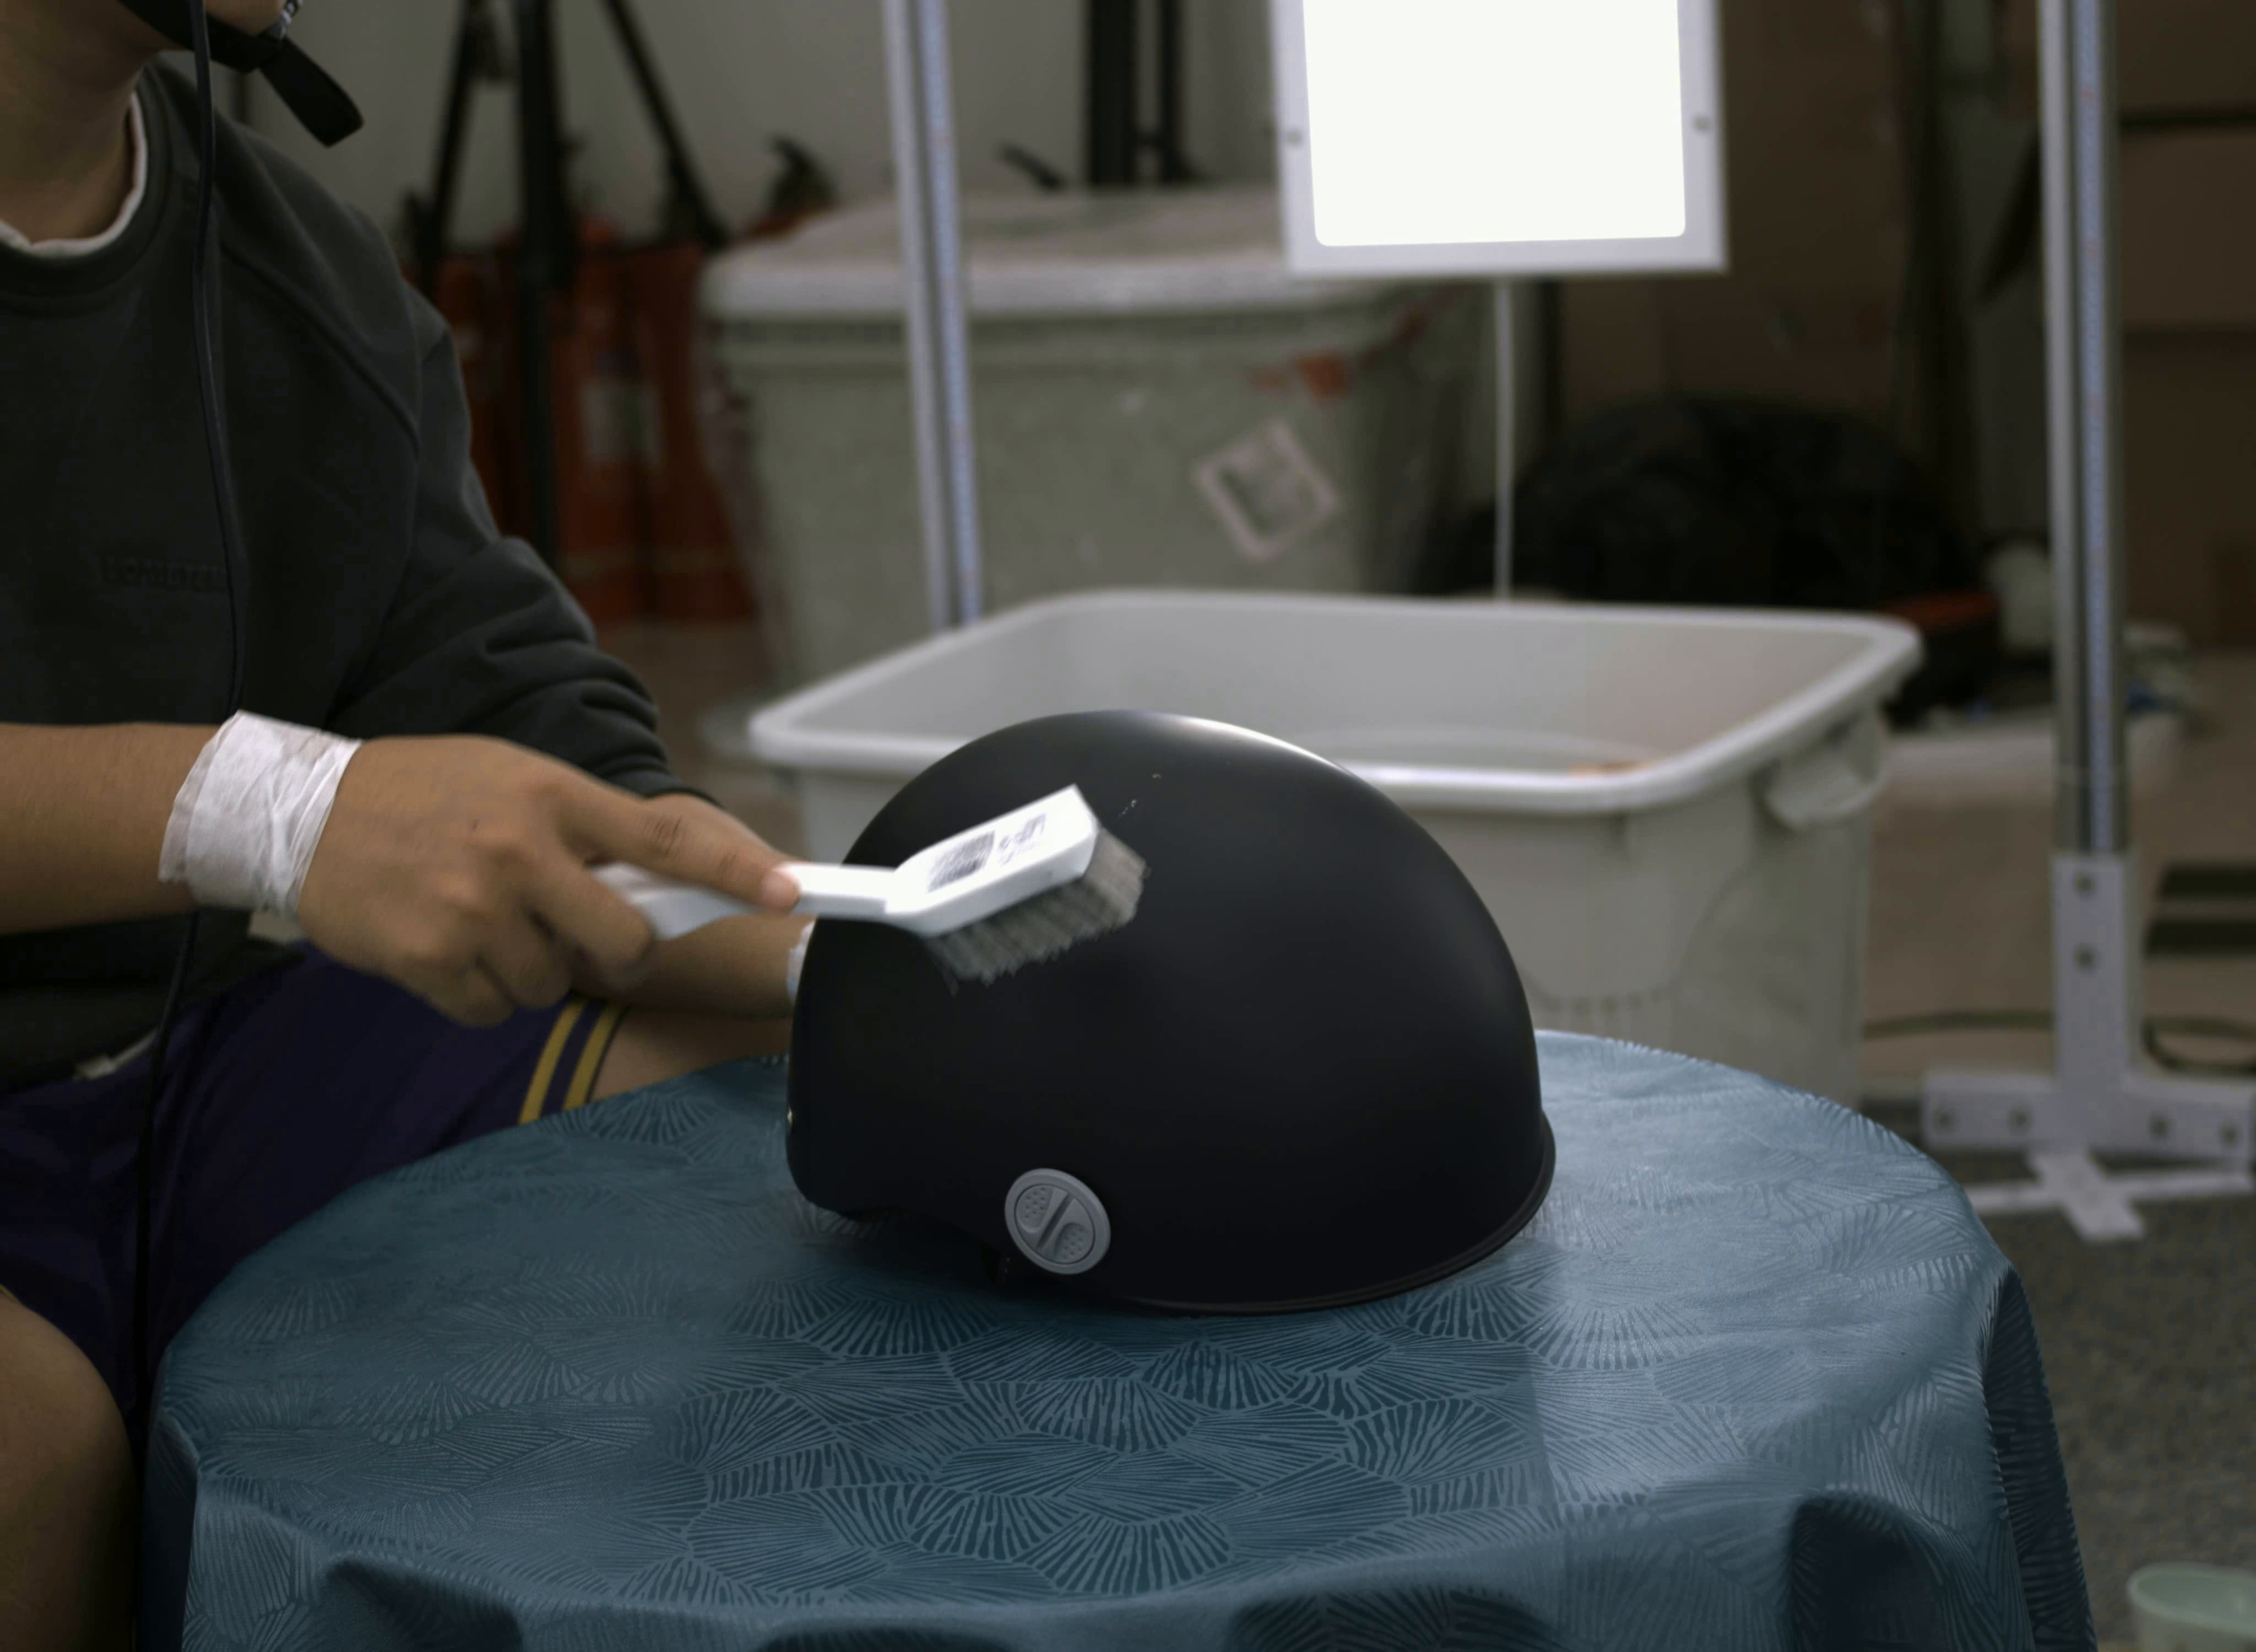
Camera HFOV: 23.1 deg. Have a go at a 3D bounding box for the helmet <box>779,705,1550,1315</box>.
[{"bbox_3d":[0.007,0.048,1.843,0.279,0.167,0.224,13,31,40],"label":"helmet"}]

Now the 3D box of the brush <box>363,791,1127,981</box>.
[{"bbox_3d":[-0.120,0.034,1.728,0.245,0.050,0.034,-10,37,13],"label":"brush"}]
